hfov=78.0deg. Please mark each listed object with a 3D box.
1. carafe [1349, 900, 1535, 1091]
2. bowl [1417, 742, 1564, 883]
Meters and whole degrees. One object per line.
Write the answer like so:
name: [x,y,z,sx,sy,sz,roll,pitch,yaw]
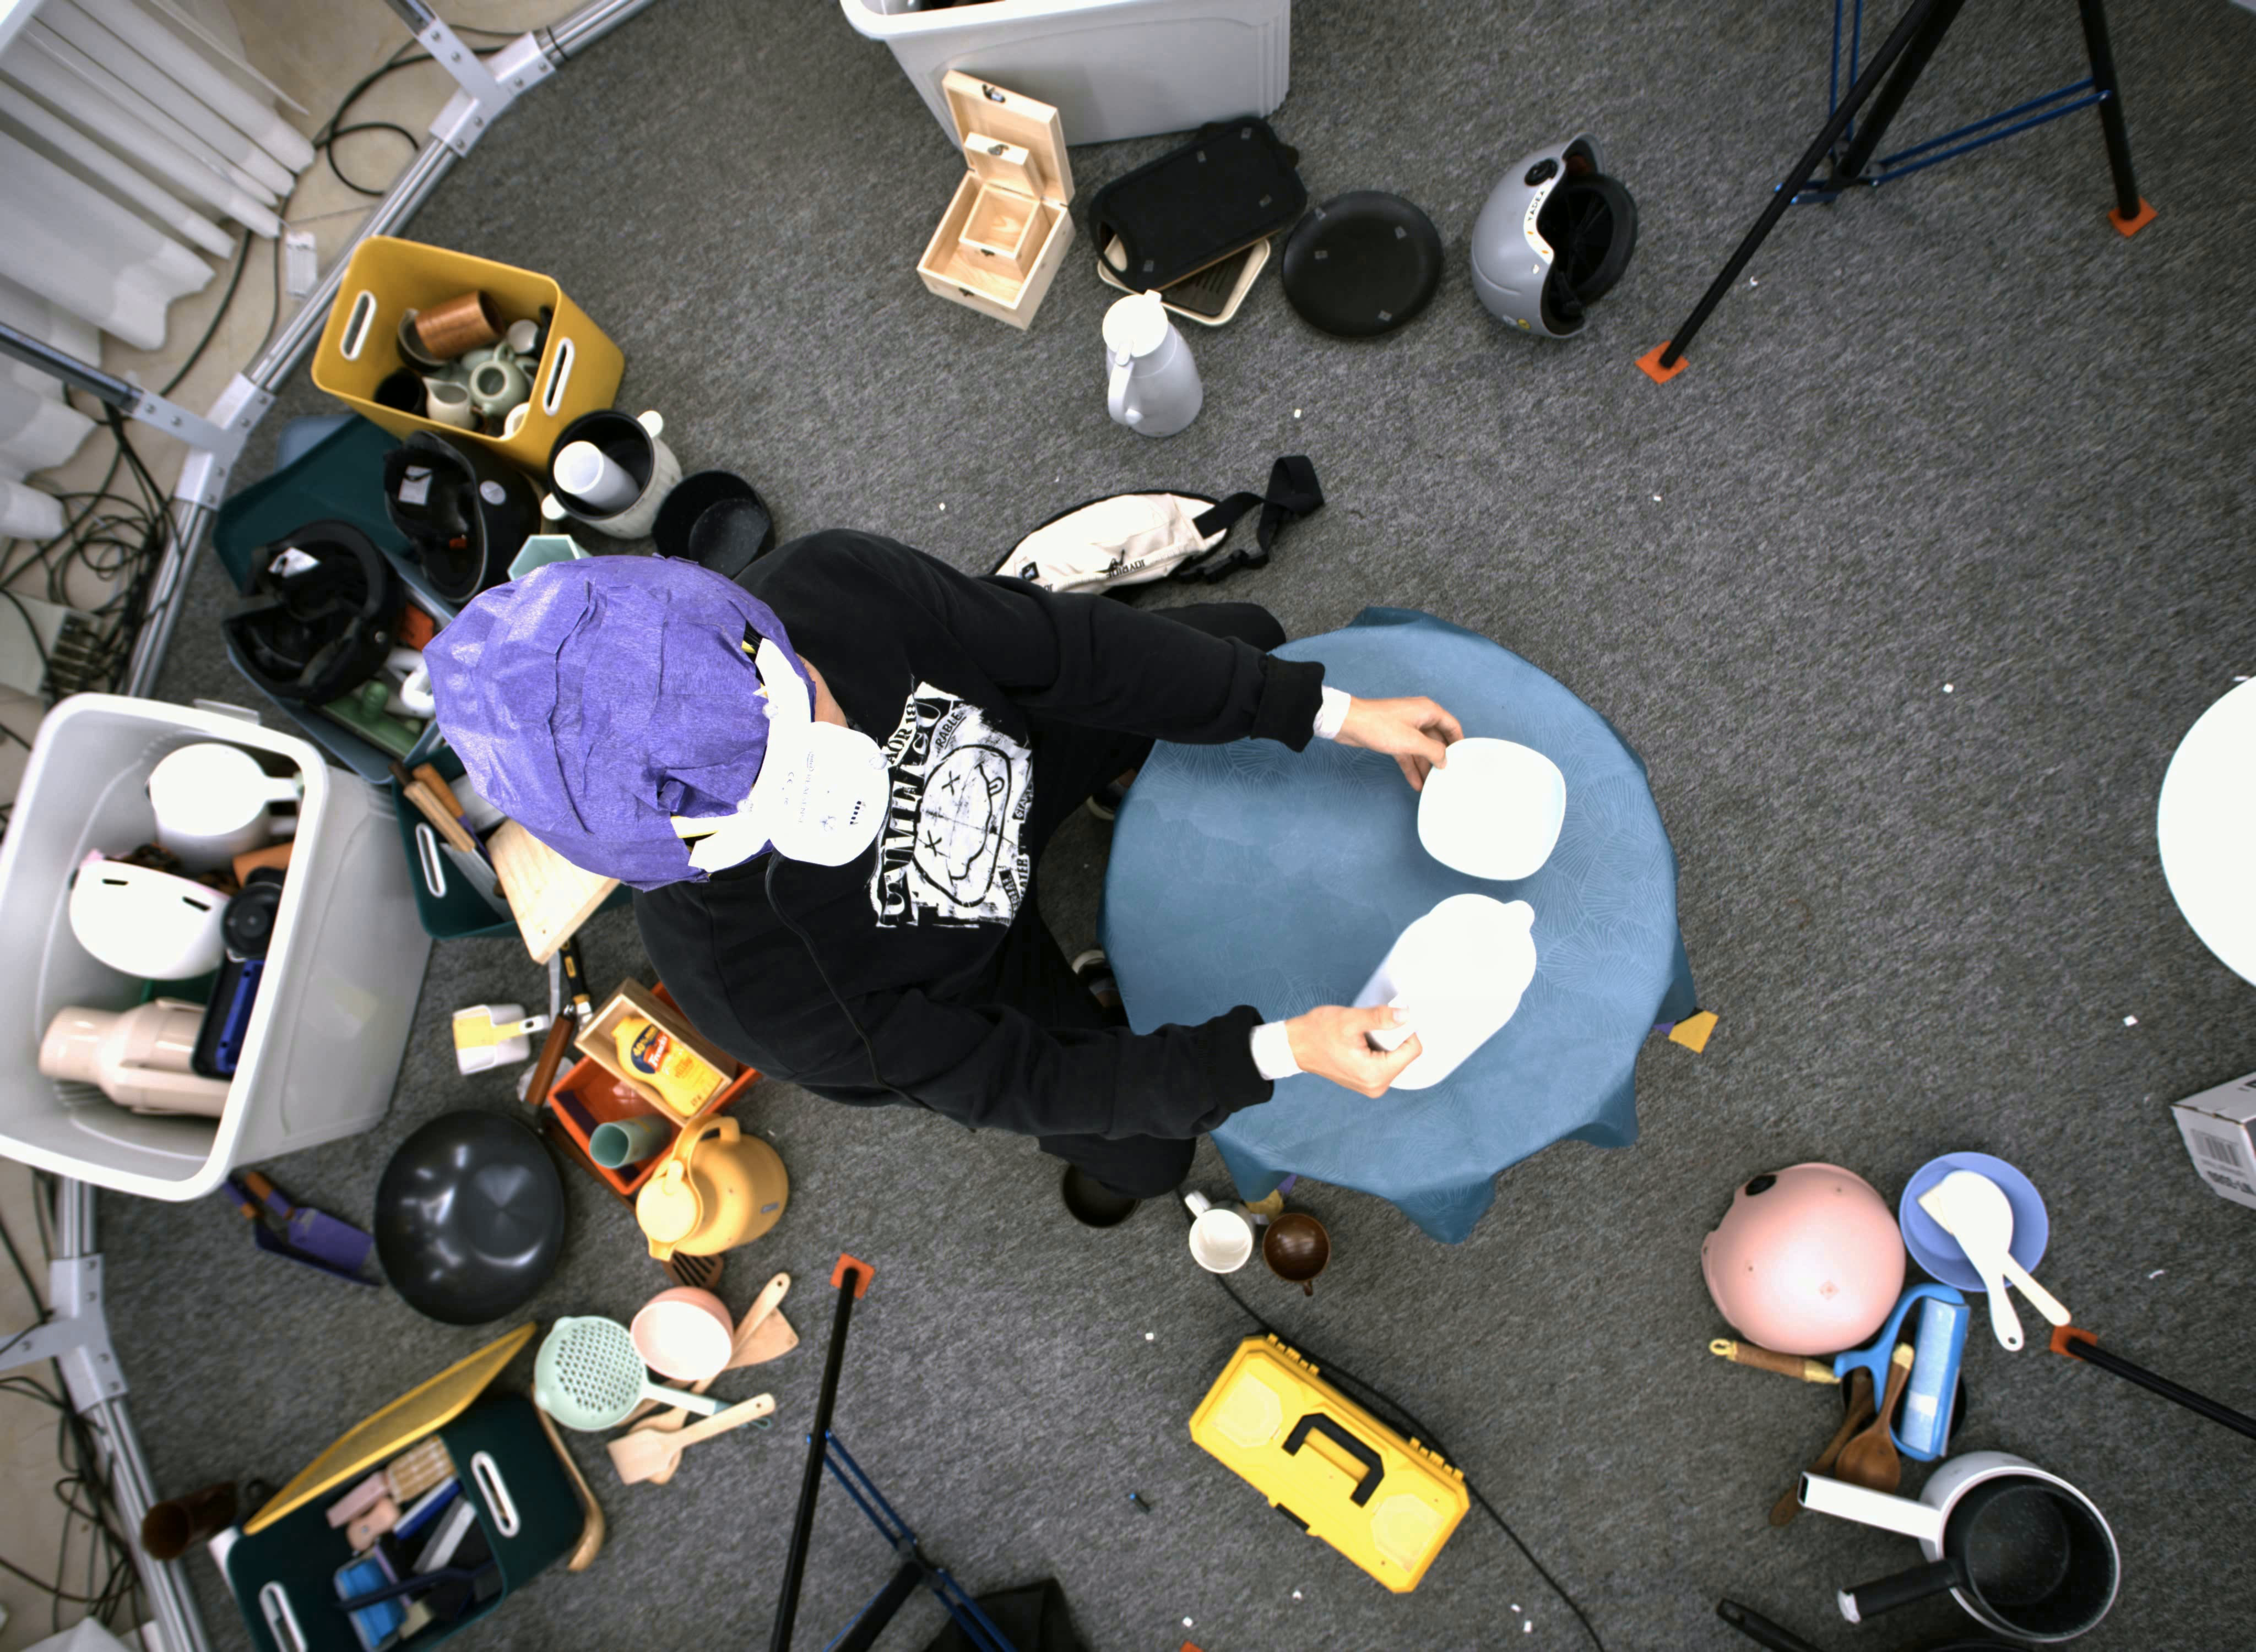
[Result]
carafe: [0.276,0.170,1.274,0.171,0.273,0.123,-38,76,-15]
bowl: [0.365,-0.012,1.385,0.152,0.059,0.150,-3,82,16]
